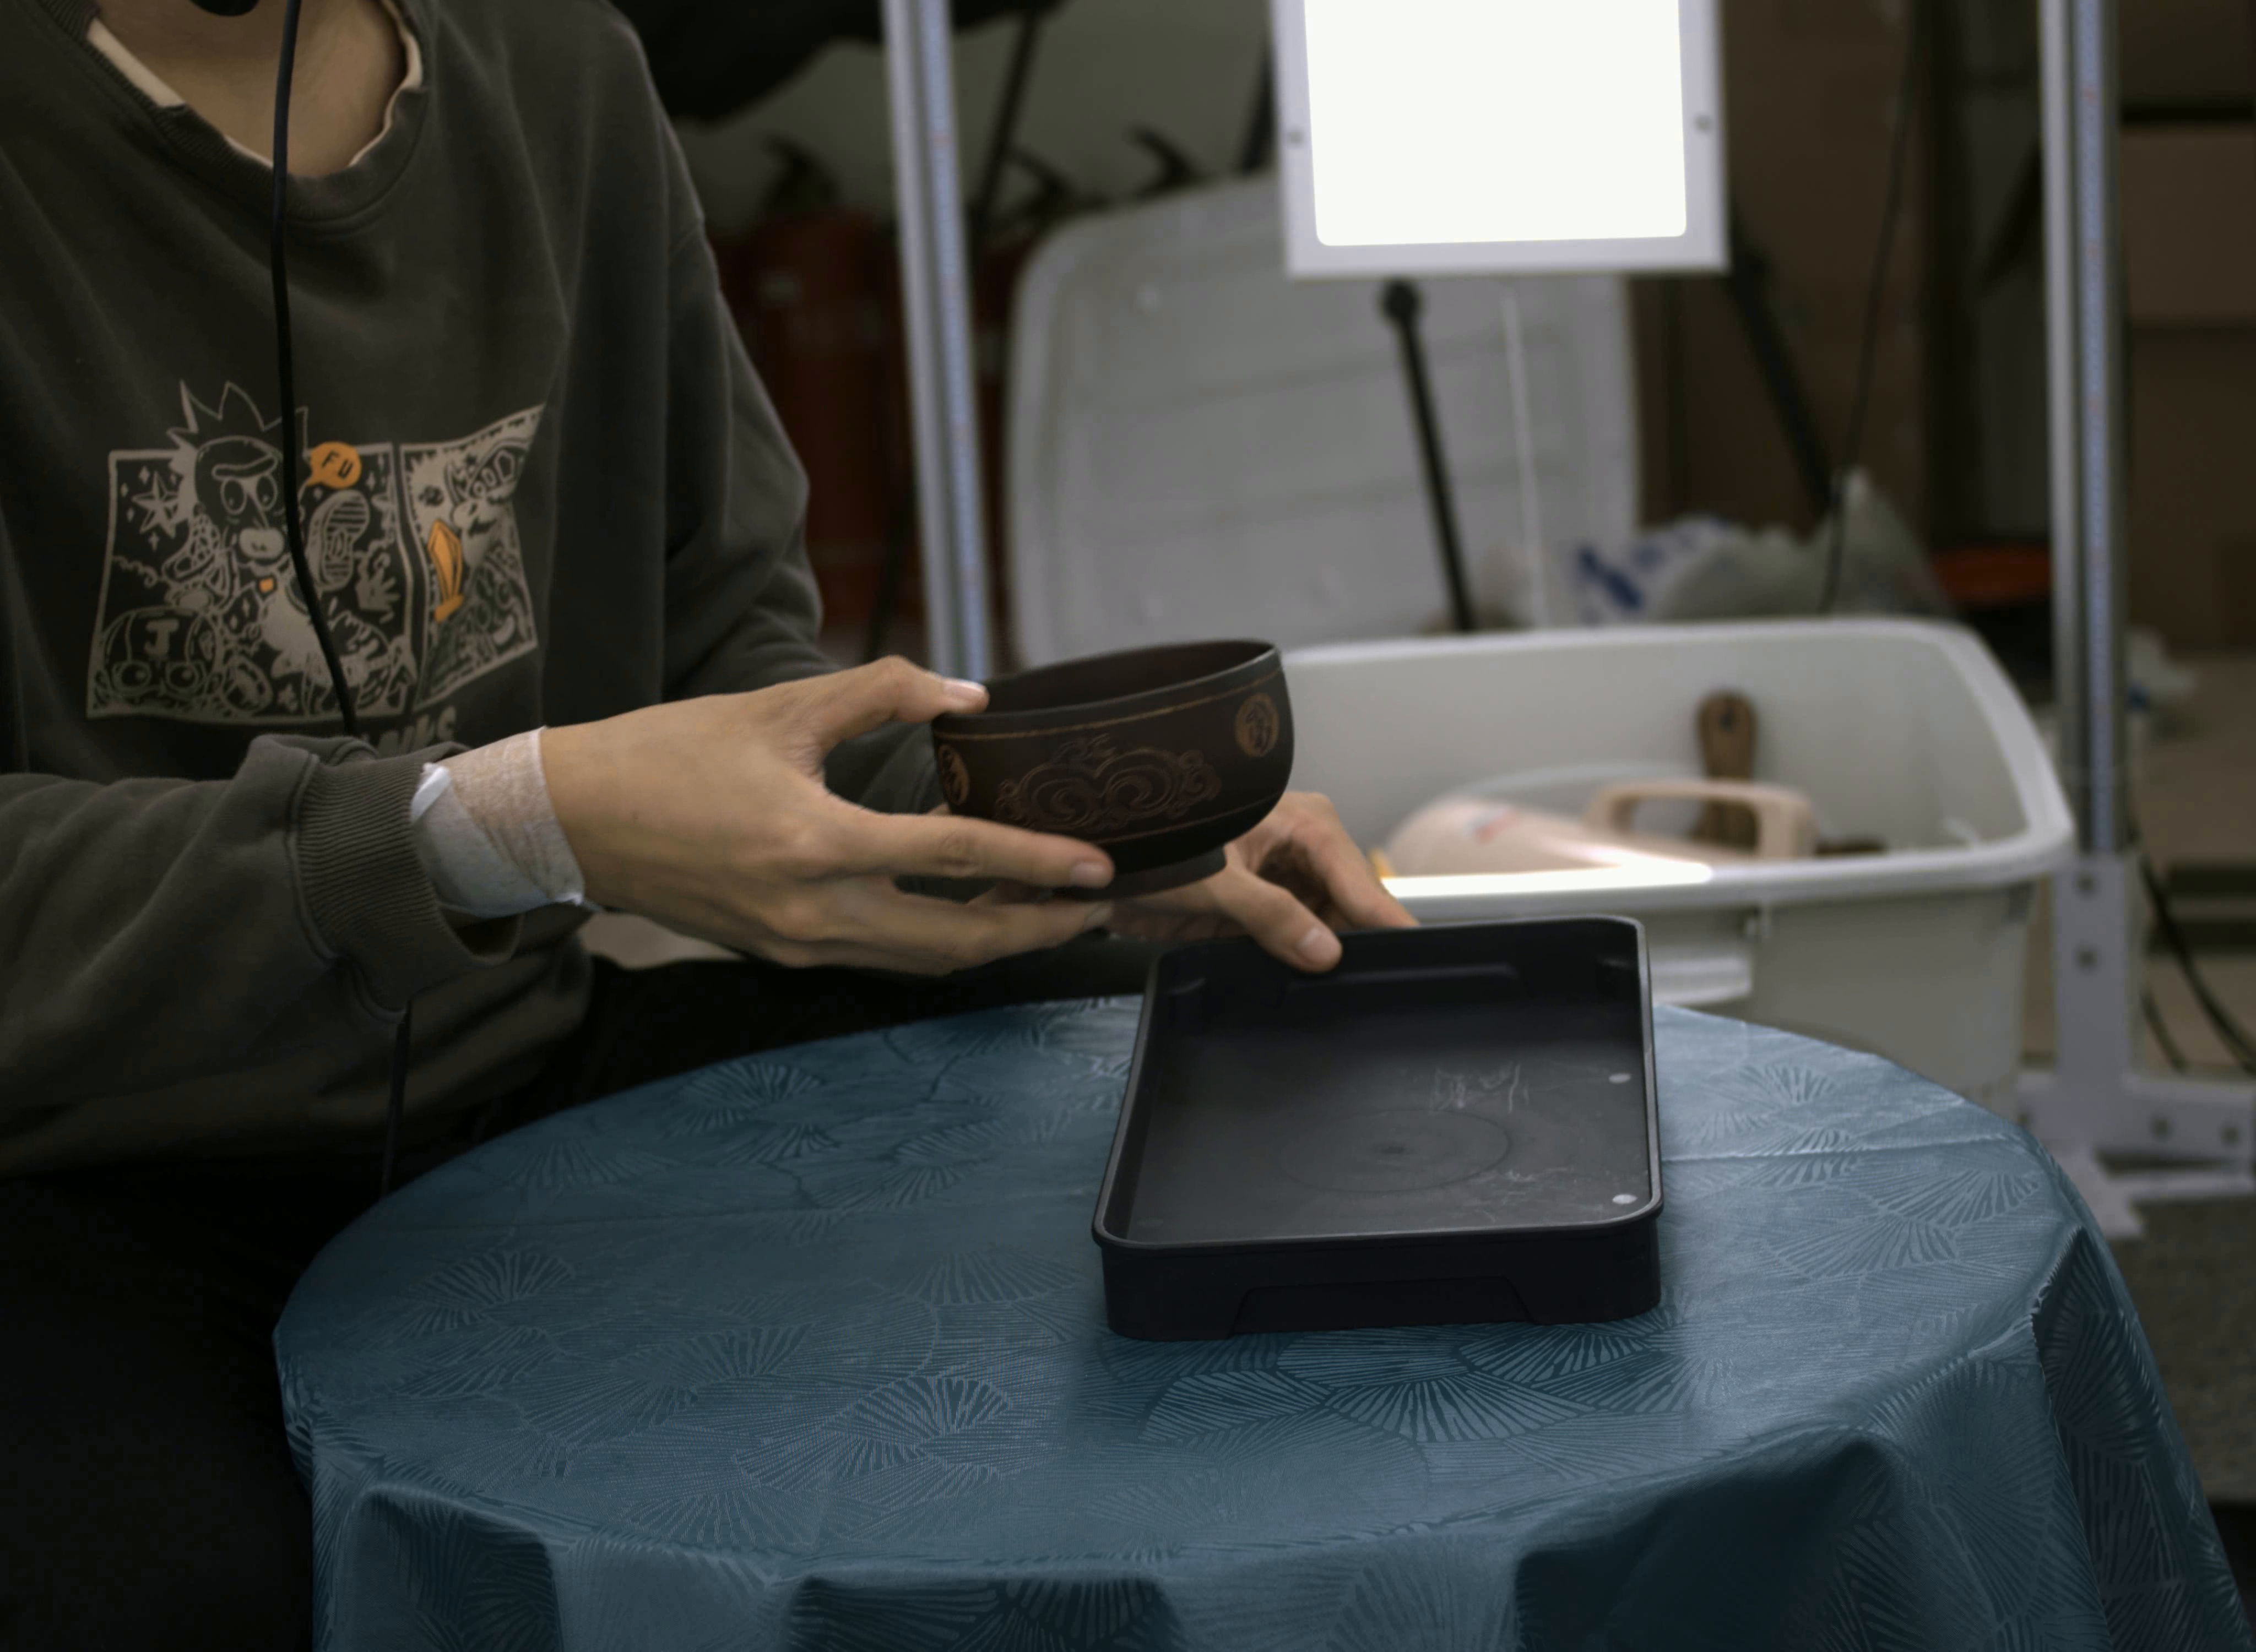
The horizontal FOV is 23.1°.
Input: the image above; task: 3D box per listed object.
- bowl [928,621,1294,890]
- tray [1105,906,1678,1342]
[{"bbox_3d":[-0.002,-0.020,1.781,0.118,0.070,0.118,-13,9,1],"label":"bowl"},{"bbox_3d":[0.091,0.097,1.881,0.184,0.037,0.316,-5,17,5],"label":"tray"}]
